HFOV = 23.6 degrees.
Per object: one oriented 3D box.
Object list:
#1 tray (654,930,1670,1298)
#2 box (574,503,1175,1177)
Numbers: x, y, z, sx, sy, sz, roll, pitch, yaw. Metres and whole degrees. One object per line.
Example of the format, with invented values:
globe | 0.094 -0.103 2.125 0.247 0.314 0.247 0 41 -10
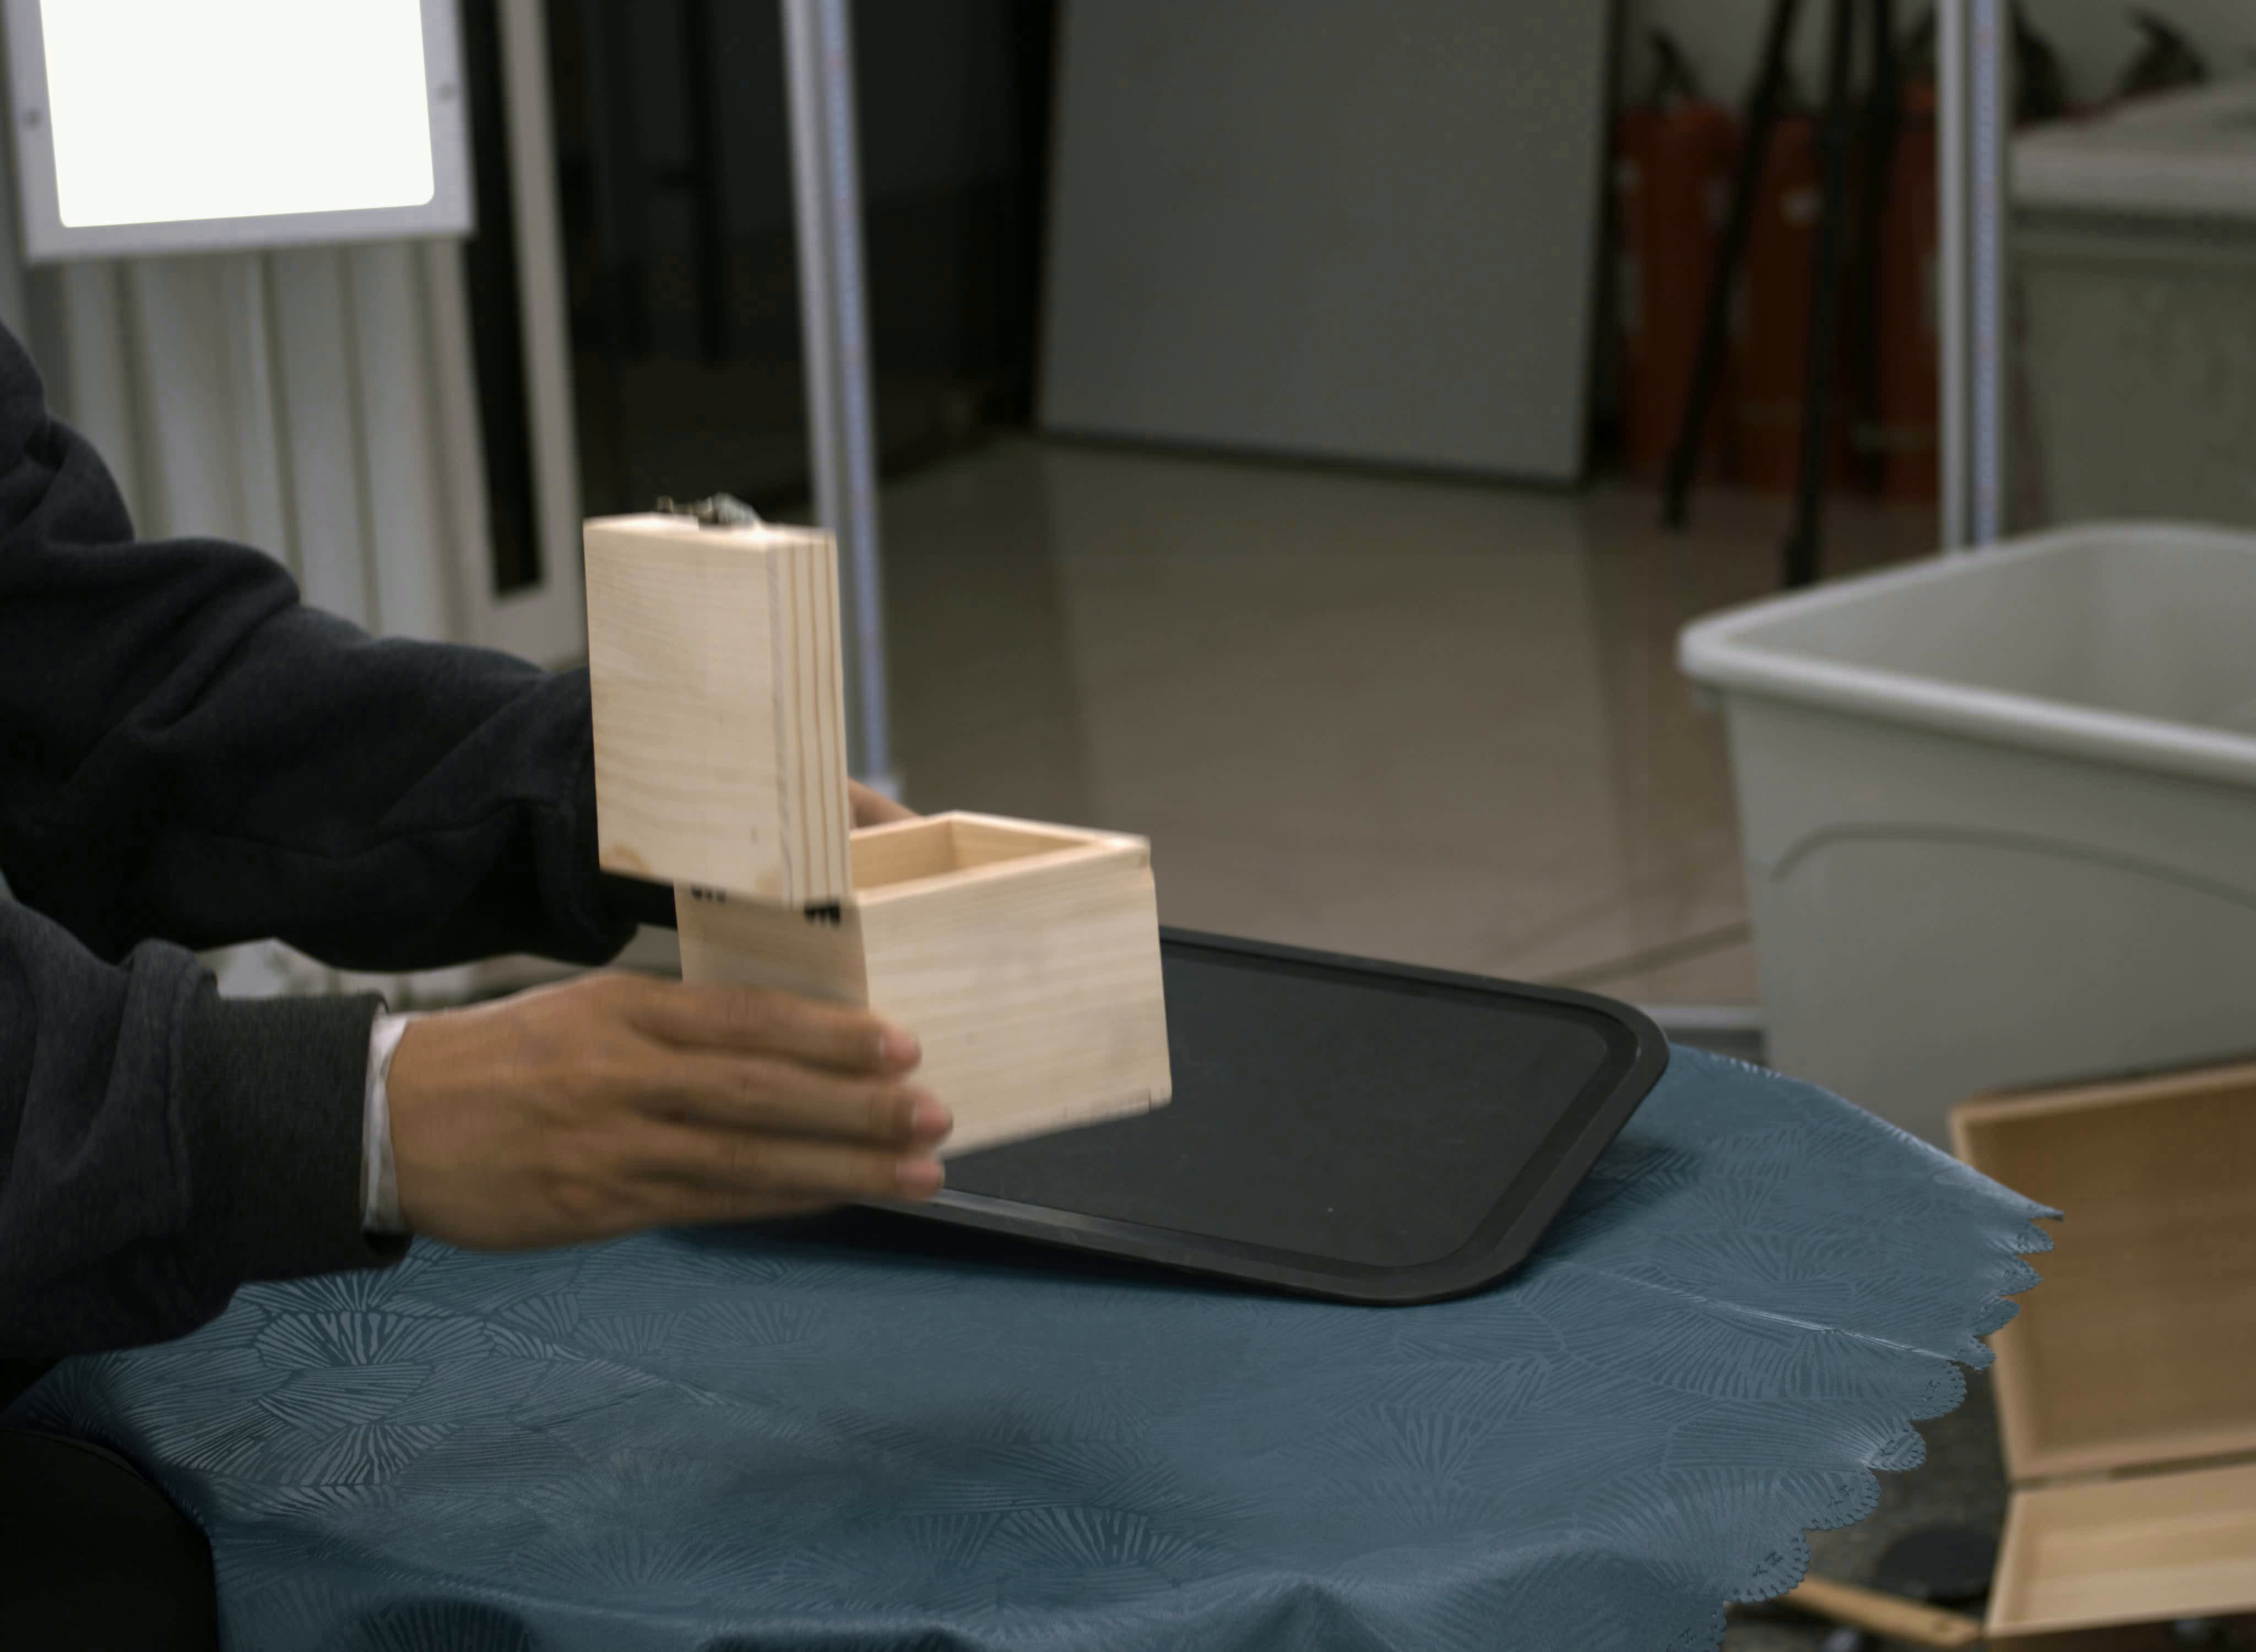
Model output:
tray | 0.005 0.085 1.777 0.326 0.010 0.209 9 28 26
box | -0.070 -0.005 1.531 0.131 0.186 0.103 -12 11 -34
